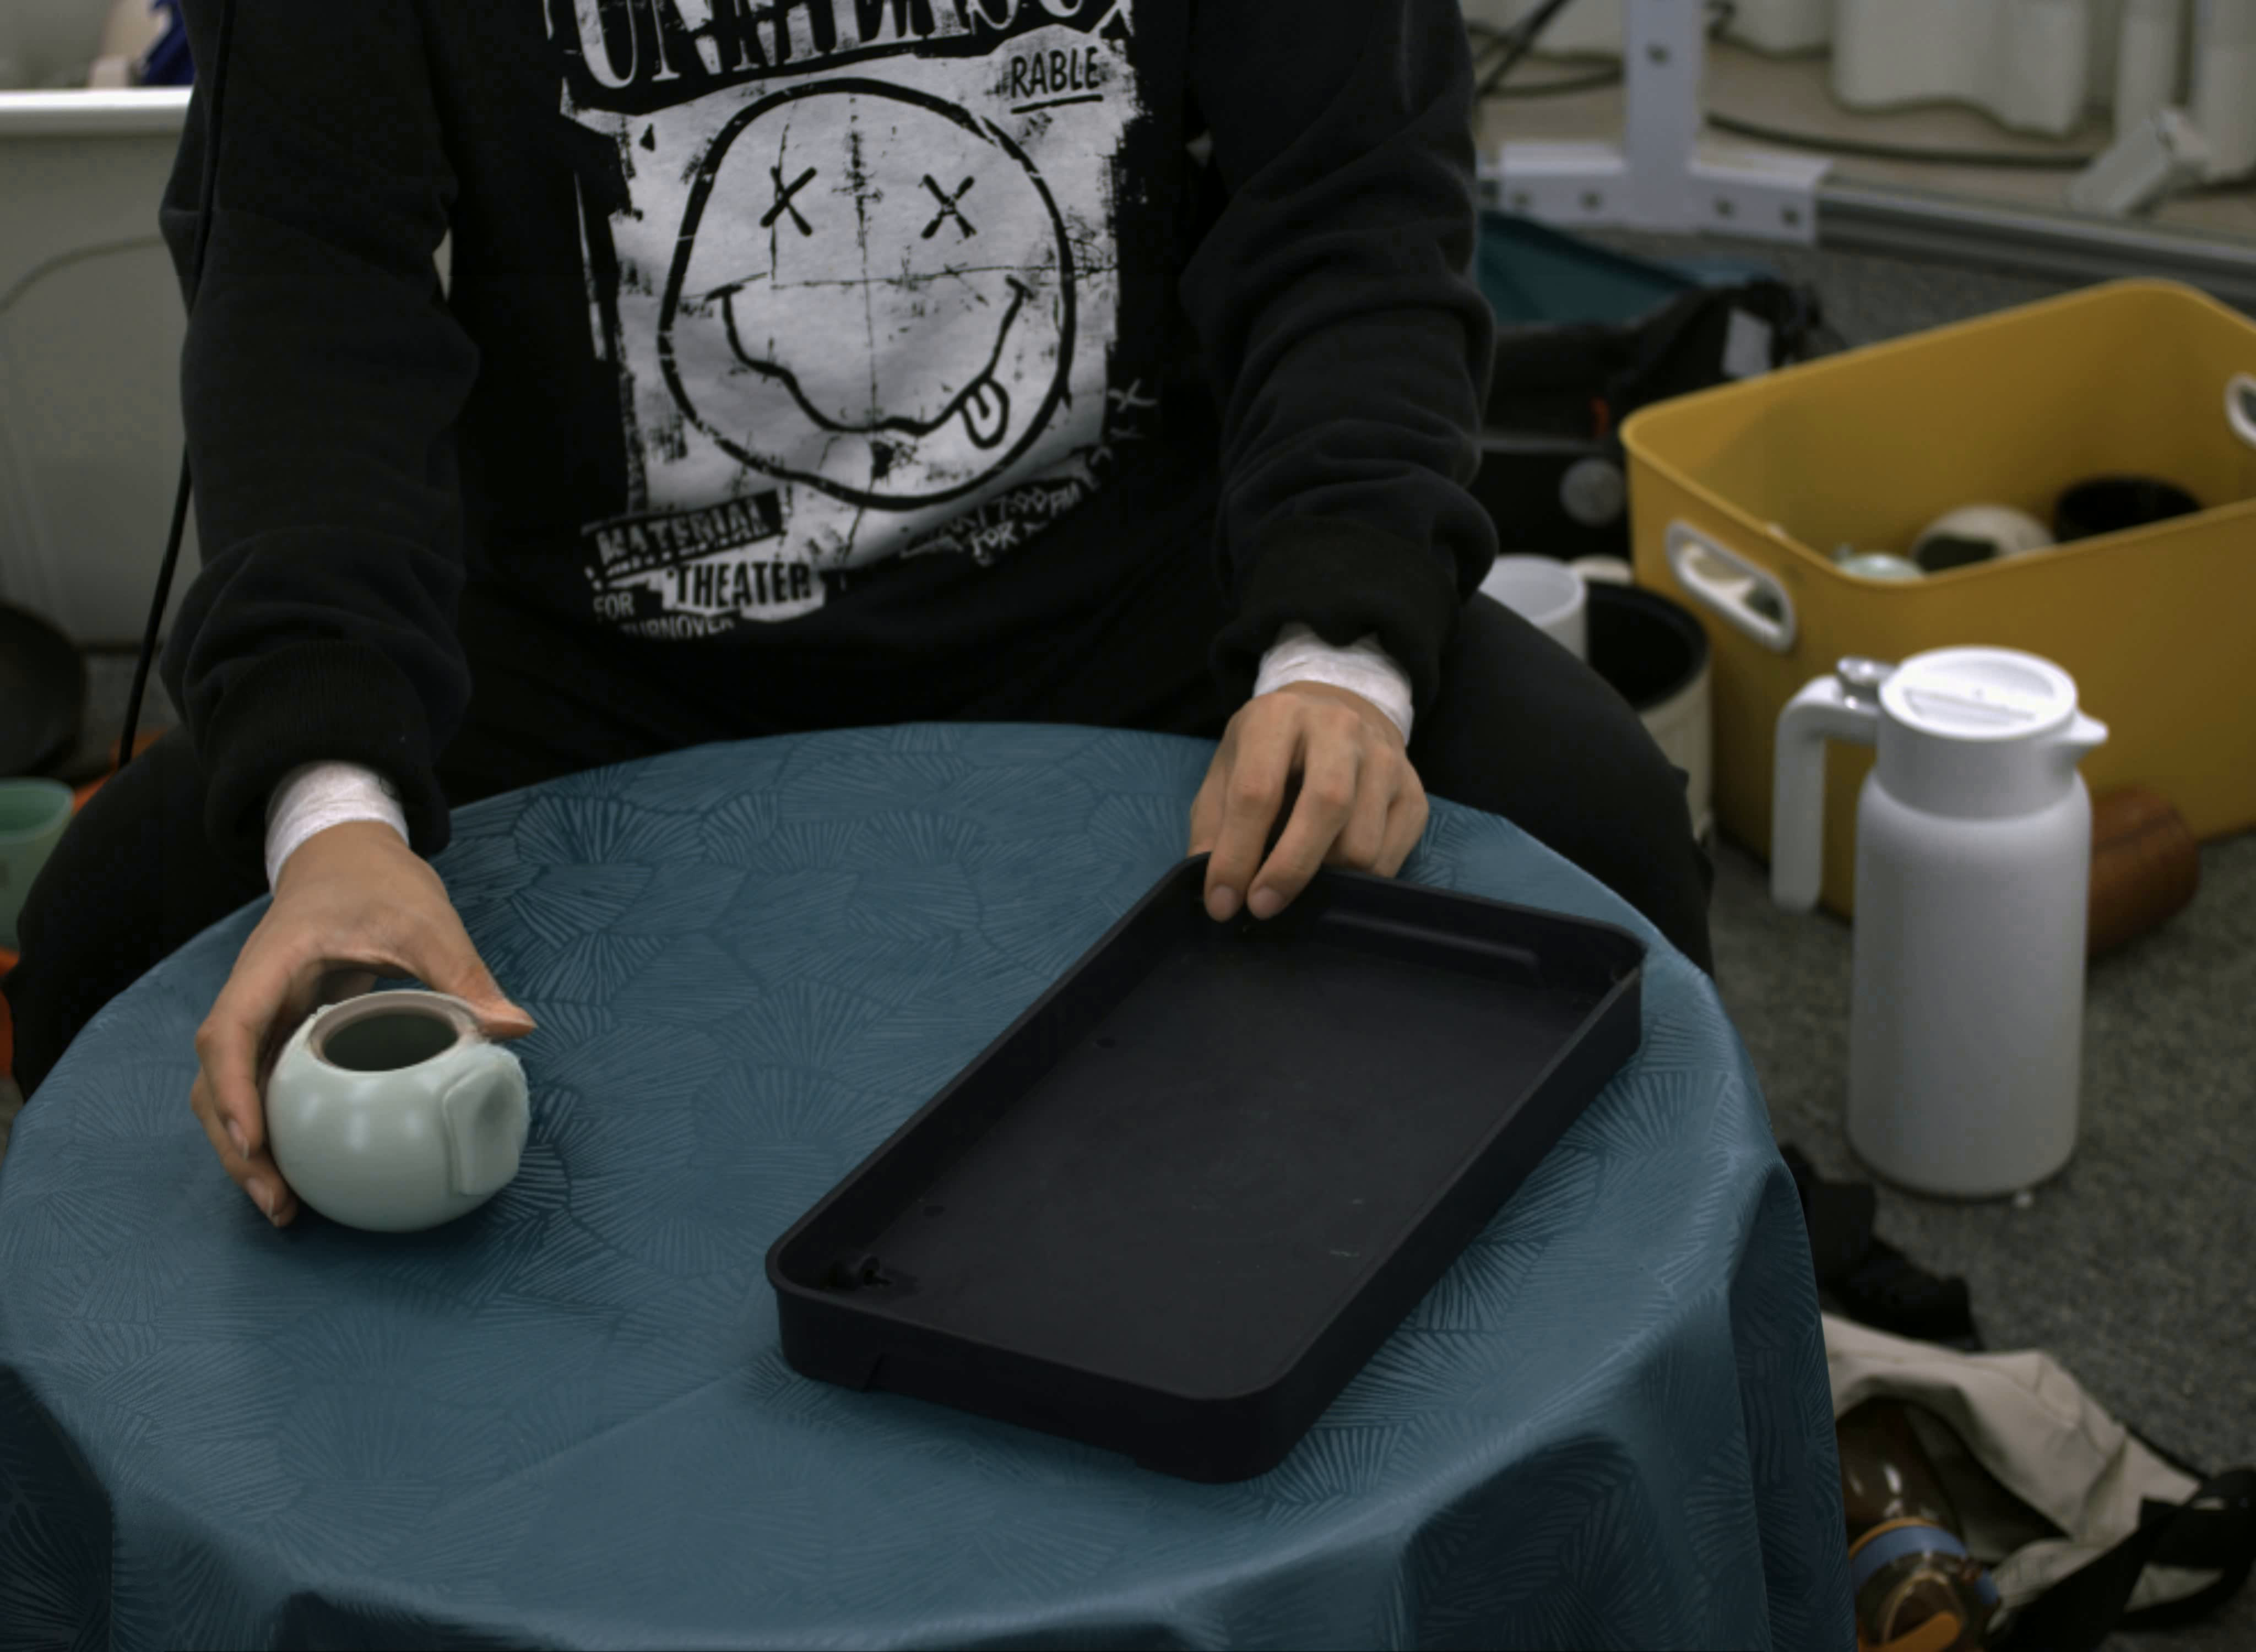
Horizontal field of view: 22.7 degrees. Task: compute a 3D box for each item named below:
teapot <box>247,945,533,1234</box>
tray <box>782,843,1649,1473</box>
[{"bbox_3d":[-0.242,0.094,1.858,0.089,0.074,0.144,-25,36,-37],"label":"teapot"},{"bbox_3d":[0.036,0.102,1.855,0.183,0.036,0.323,10,30,24],"label":"tray"}]
